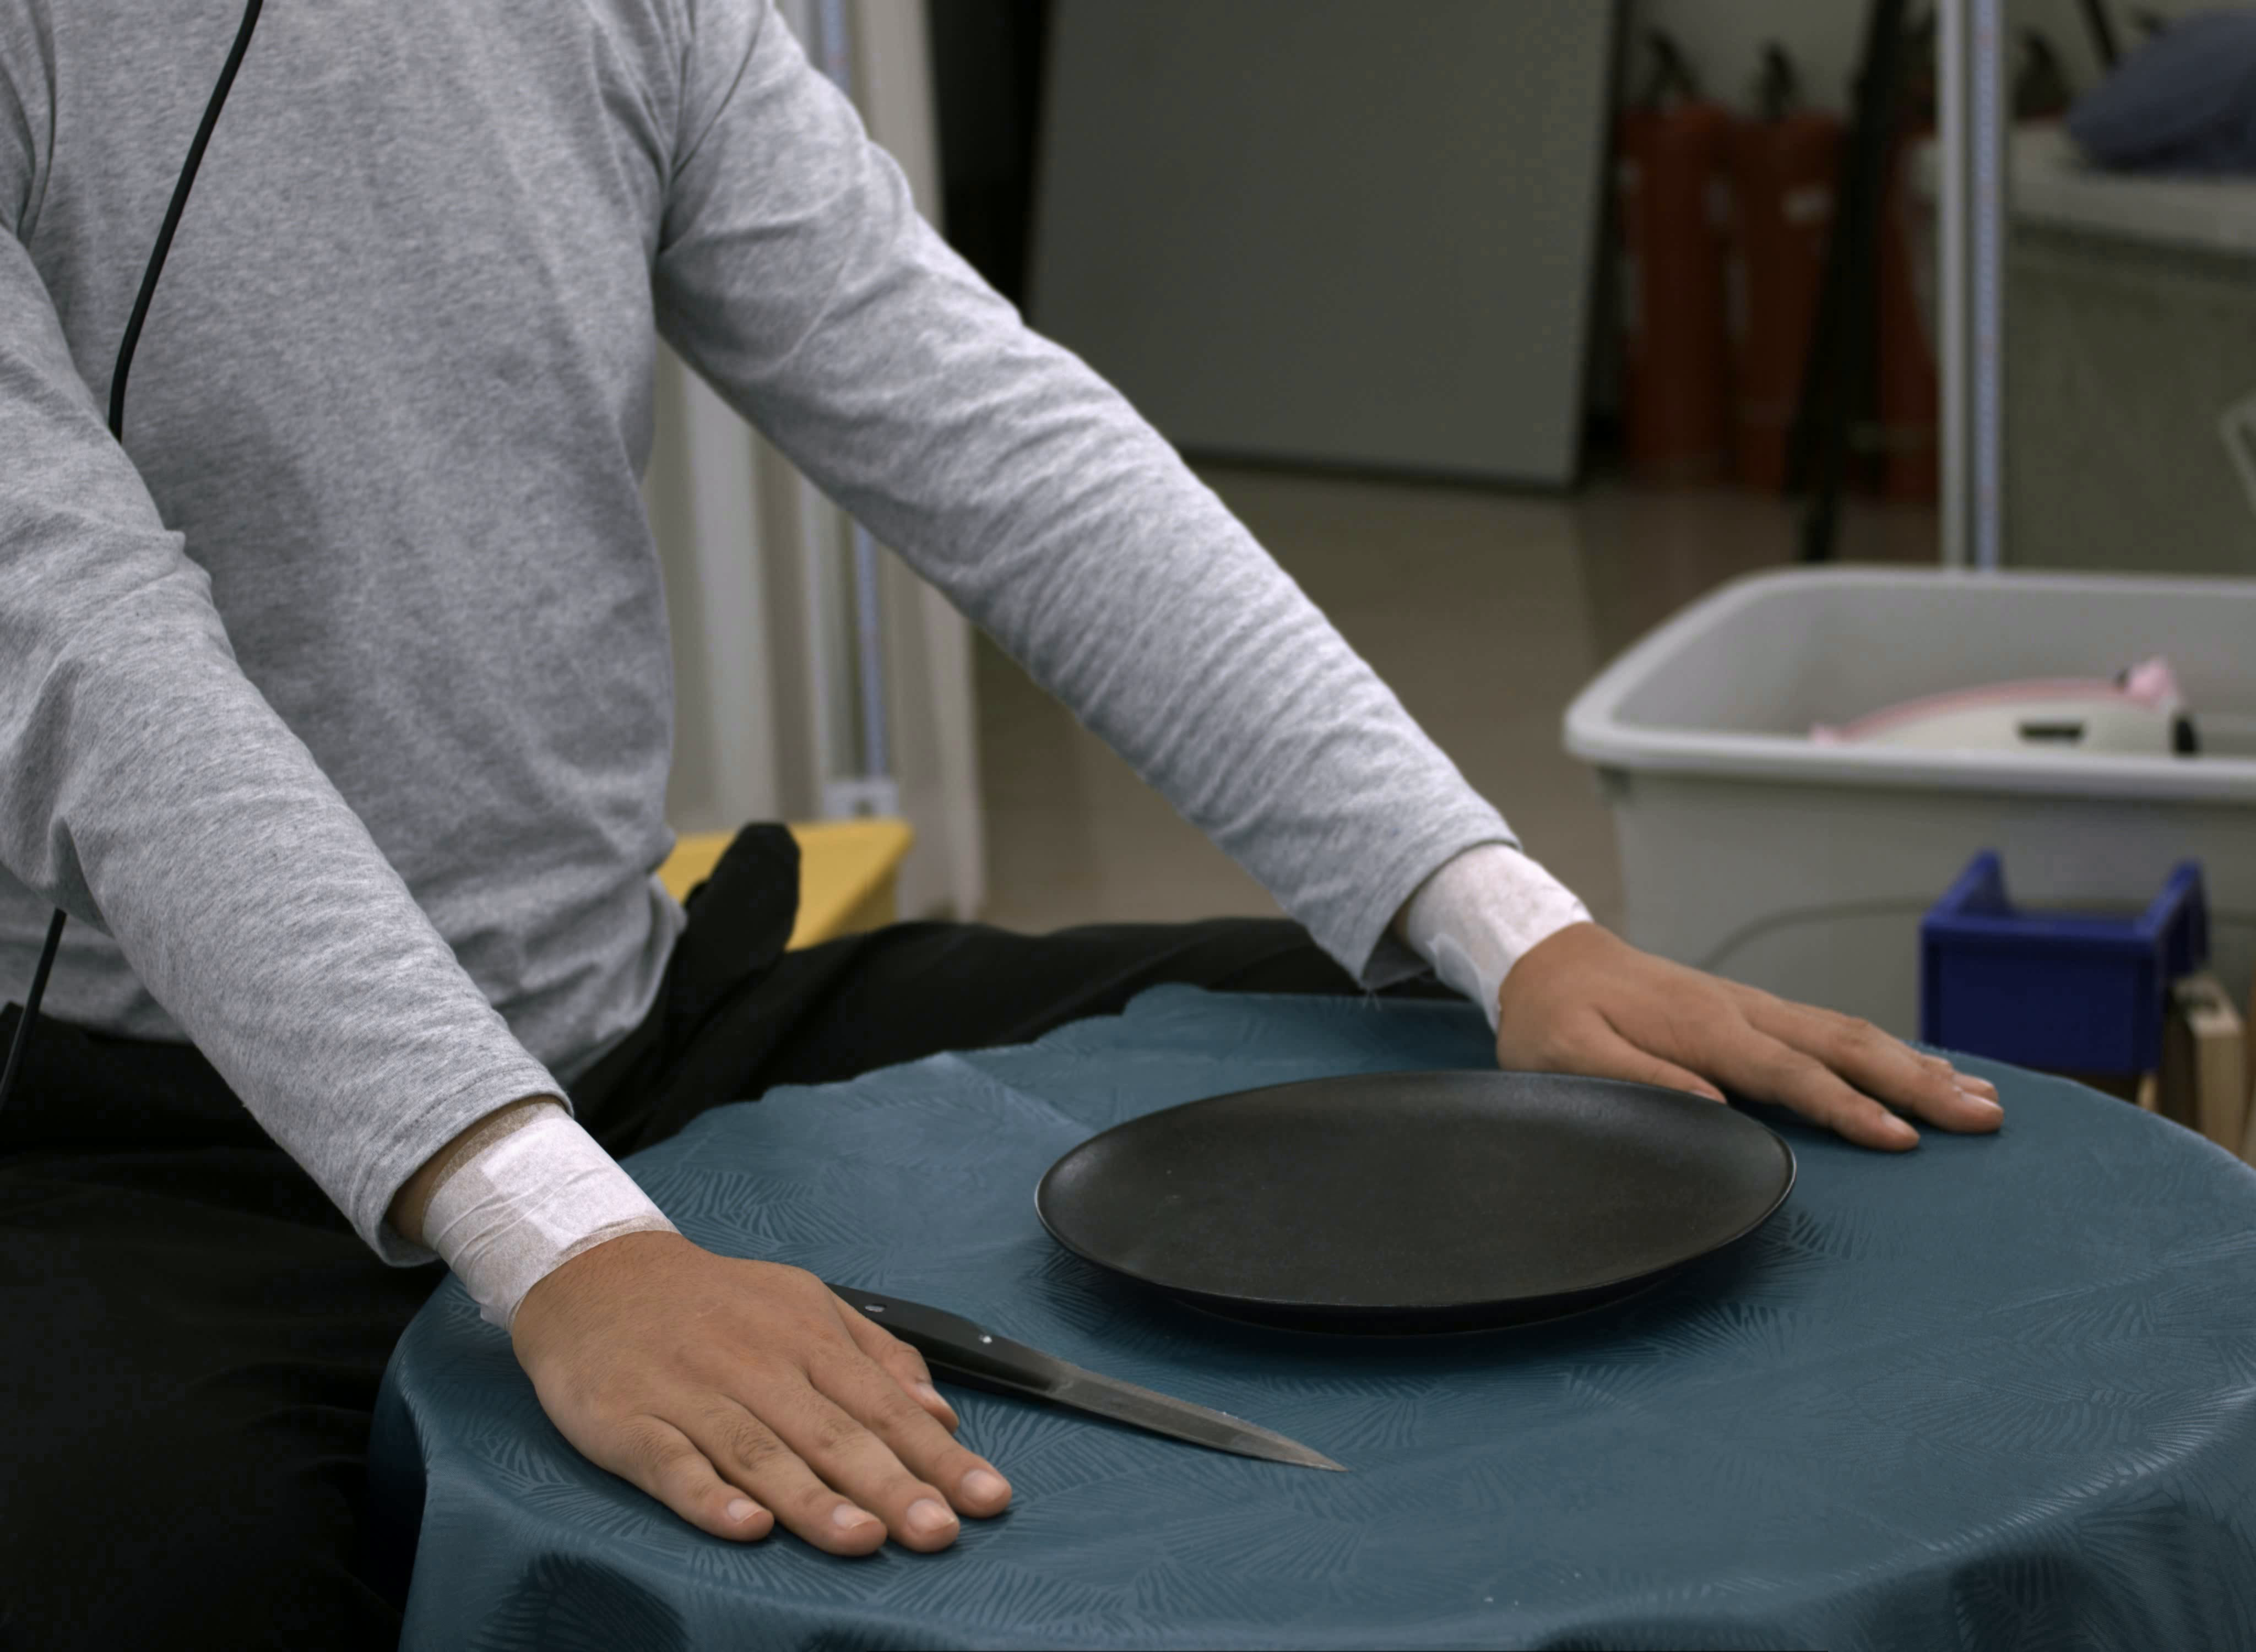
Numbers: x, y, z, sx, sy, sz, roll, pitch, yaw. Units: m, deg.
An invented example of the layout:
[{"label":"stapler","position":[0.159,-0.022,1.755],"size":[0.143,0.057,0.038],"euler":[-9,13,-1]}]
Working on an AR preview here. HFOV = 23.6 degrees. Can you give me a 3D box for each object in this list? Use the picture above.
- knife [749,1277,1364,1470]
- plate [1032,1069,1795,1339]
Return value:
[{"label":"knife","position":[-0.026,0.163,1.586],"size":[0.240,0.016,0.024],"euler":[11,19,40]},{"label":"plate","position":[0.090,0.122,1.700],"size":[0.241,0.024,0.245],"euler":[-4,13,0]}]
